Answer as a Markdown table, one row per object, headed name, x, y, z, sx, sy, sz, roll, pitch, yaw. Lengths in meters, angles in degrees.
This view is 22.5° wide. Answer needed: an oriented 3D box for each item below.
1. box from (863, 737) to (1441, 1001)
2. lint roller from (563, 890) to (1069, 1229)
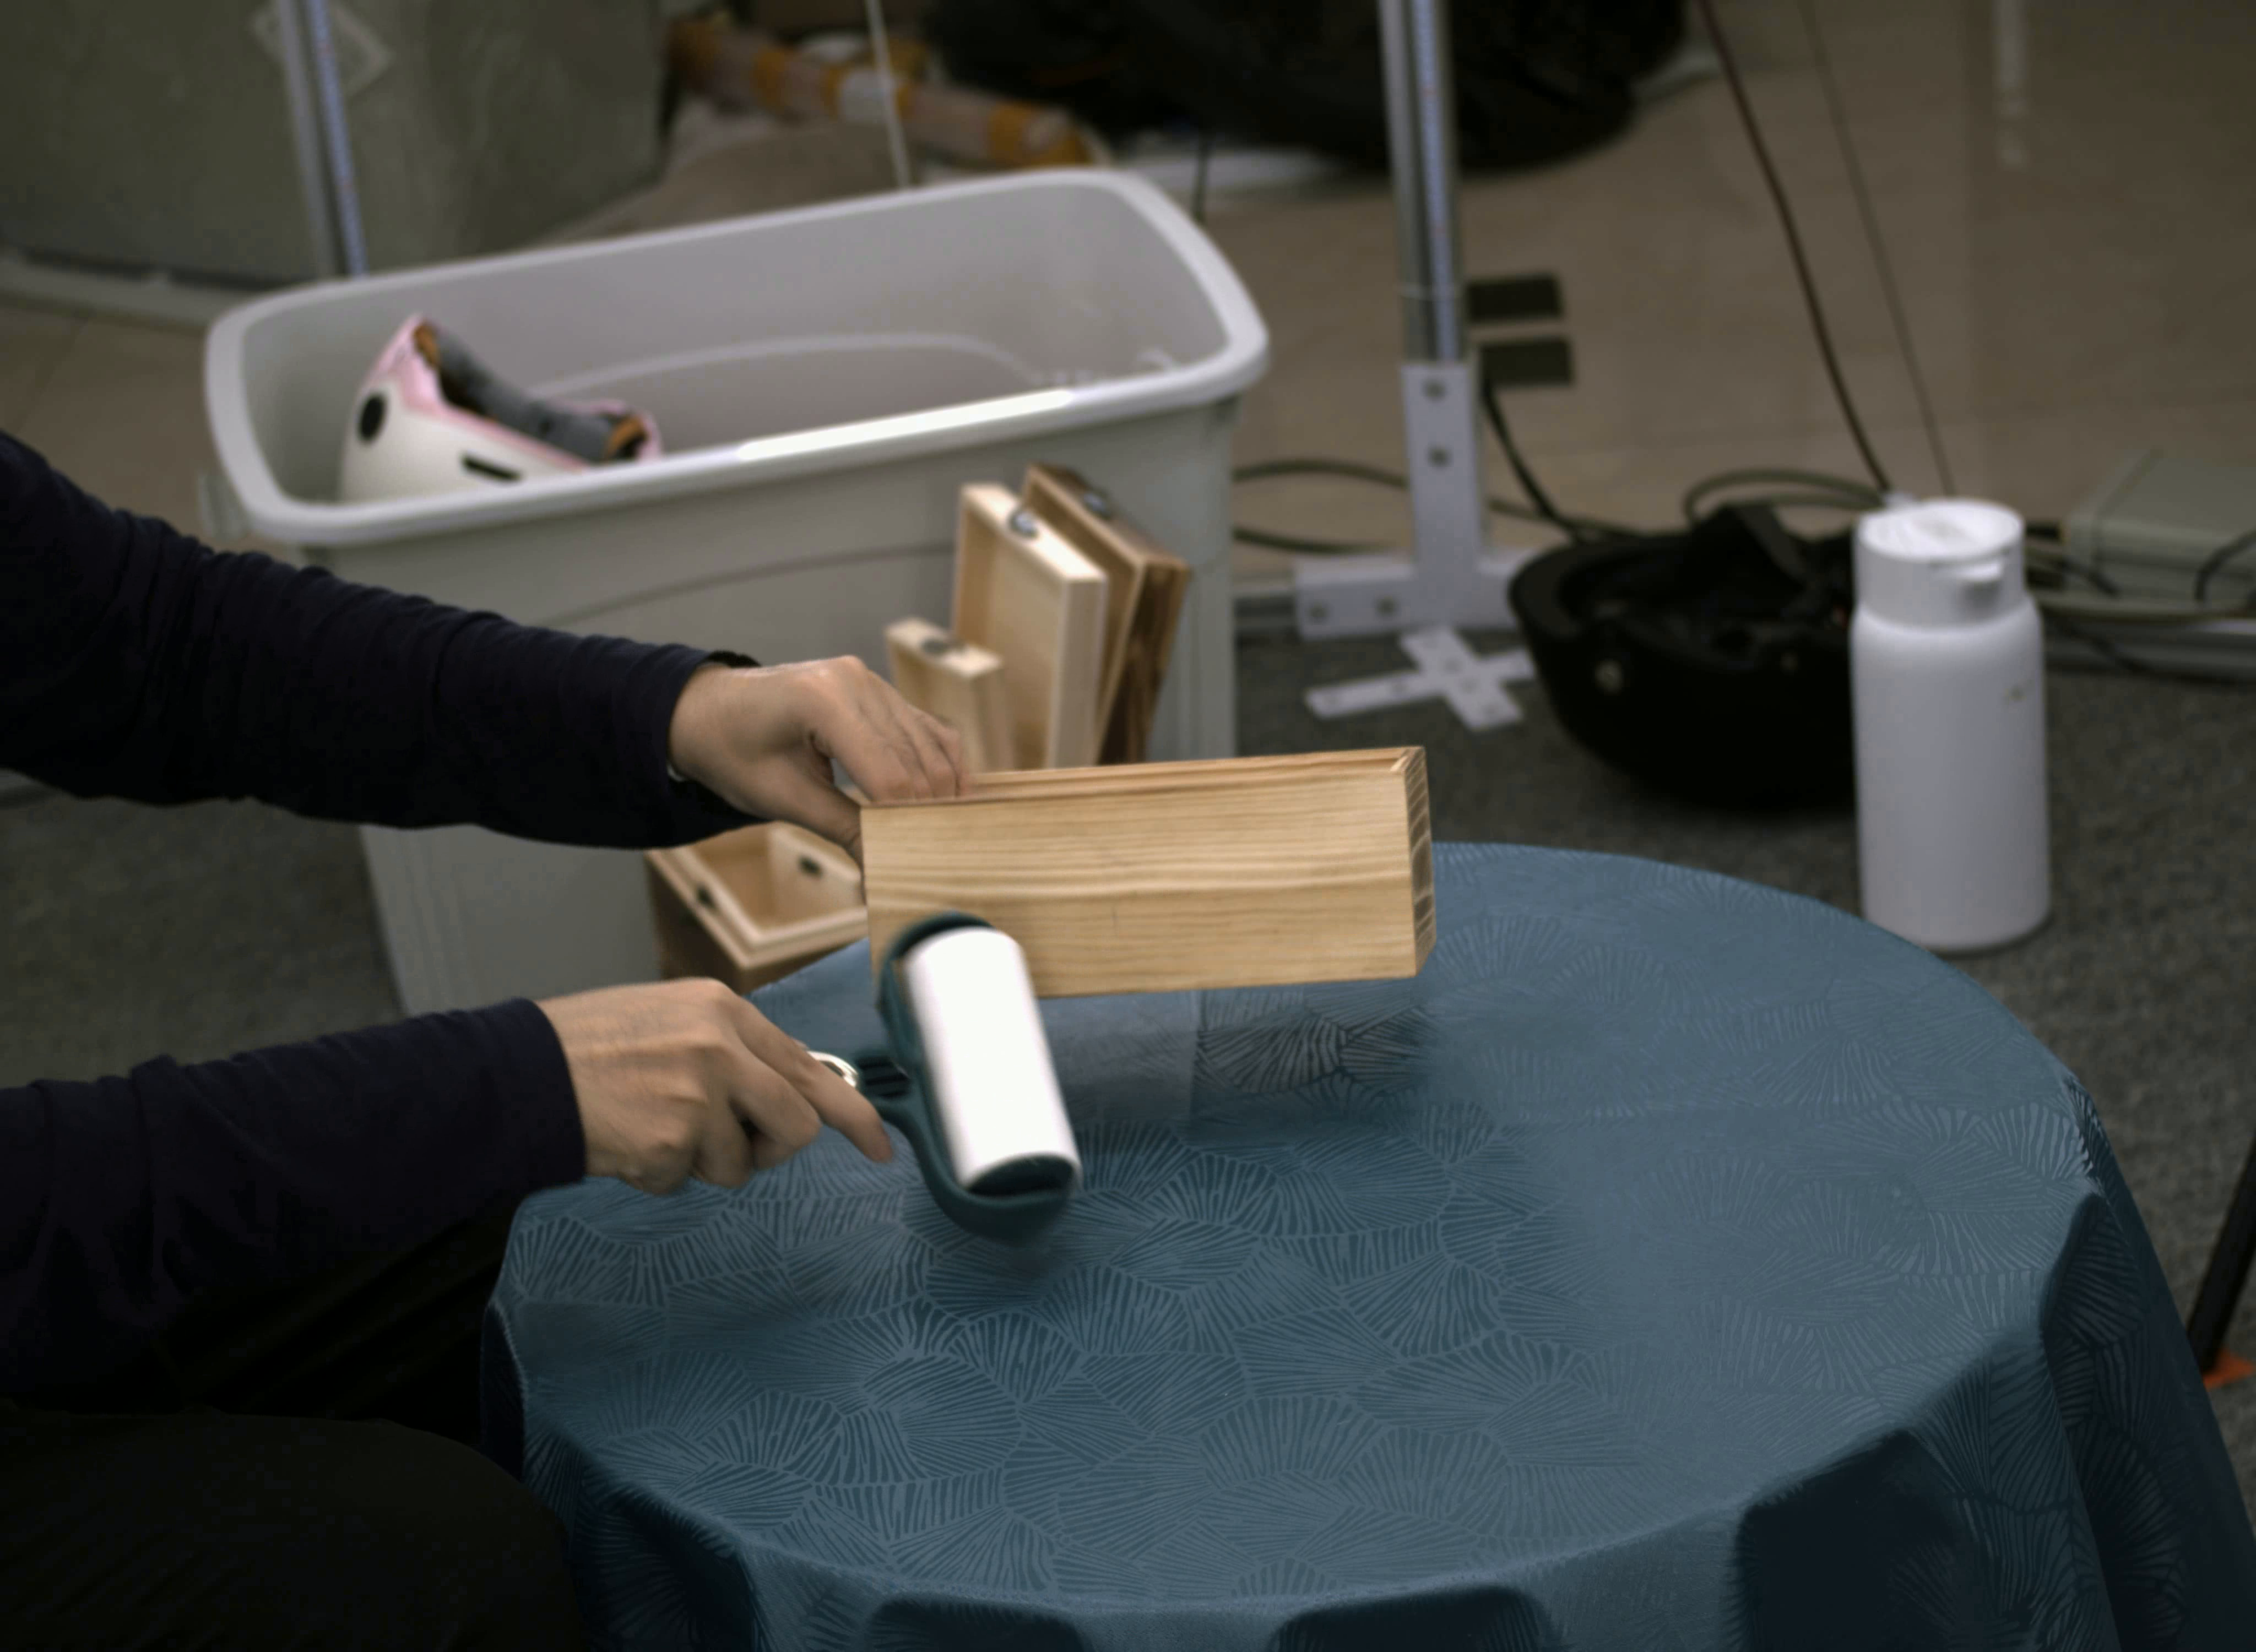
| name | x | y | z | sx | sy | sz | roll | pitch | yaw |
| --- | --- | --- | --- | --- | --- | --- | --- | --- | --- |
| box | 0.012 | 0.018 | 2.213 | 0.211 | 0.081 | 0.107 | -5 | 6 | 7 |
| lint roller | -0.118 | 0.091 | 2.093 | 0.180 | 0.049 | 0.132 | -3 | 58 | -24 |
